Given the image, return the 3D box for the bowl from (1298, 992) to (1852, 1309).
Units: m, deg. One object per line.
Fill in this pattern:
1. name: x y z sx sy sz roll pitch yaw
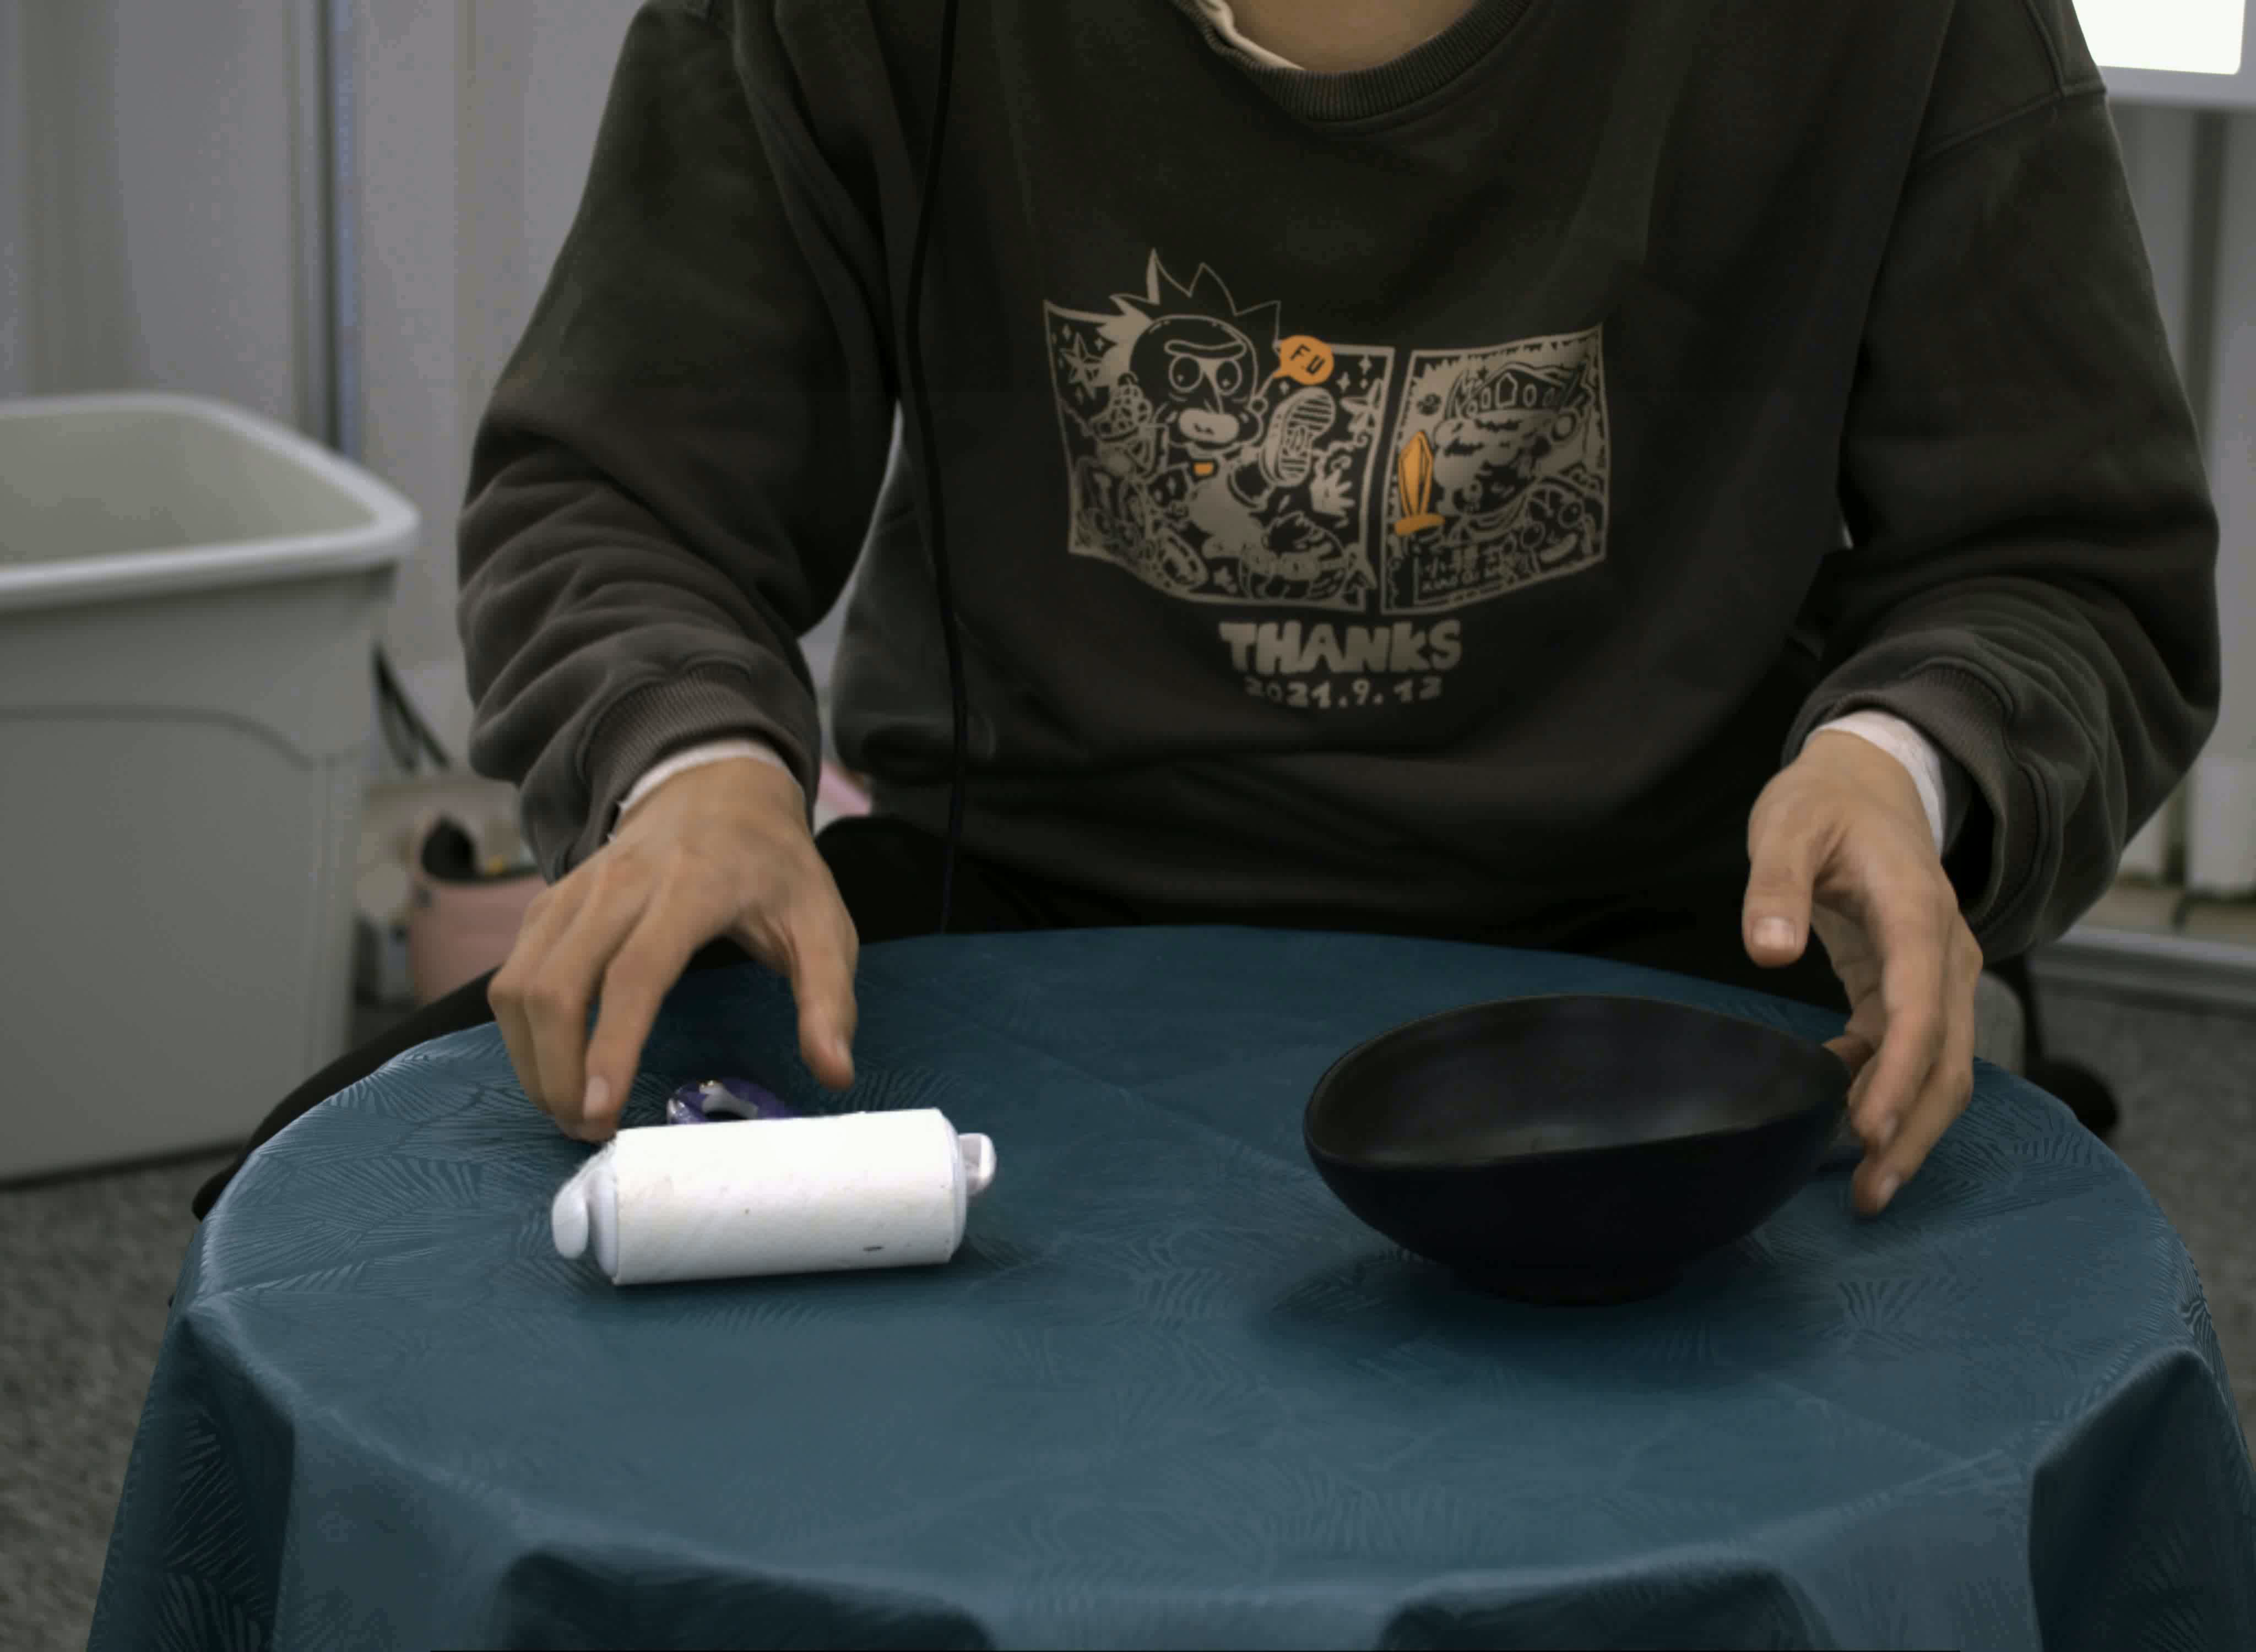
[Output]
1. bowl: 0.133 0.101 1.558 0.171 0.067 0.135 -9 17 -25

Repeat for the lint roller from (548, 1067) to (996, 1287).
1. lint roller: -0.115 0.091 1.614 0.133 0.050 0.179 -2 19 -9
